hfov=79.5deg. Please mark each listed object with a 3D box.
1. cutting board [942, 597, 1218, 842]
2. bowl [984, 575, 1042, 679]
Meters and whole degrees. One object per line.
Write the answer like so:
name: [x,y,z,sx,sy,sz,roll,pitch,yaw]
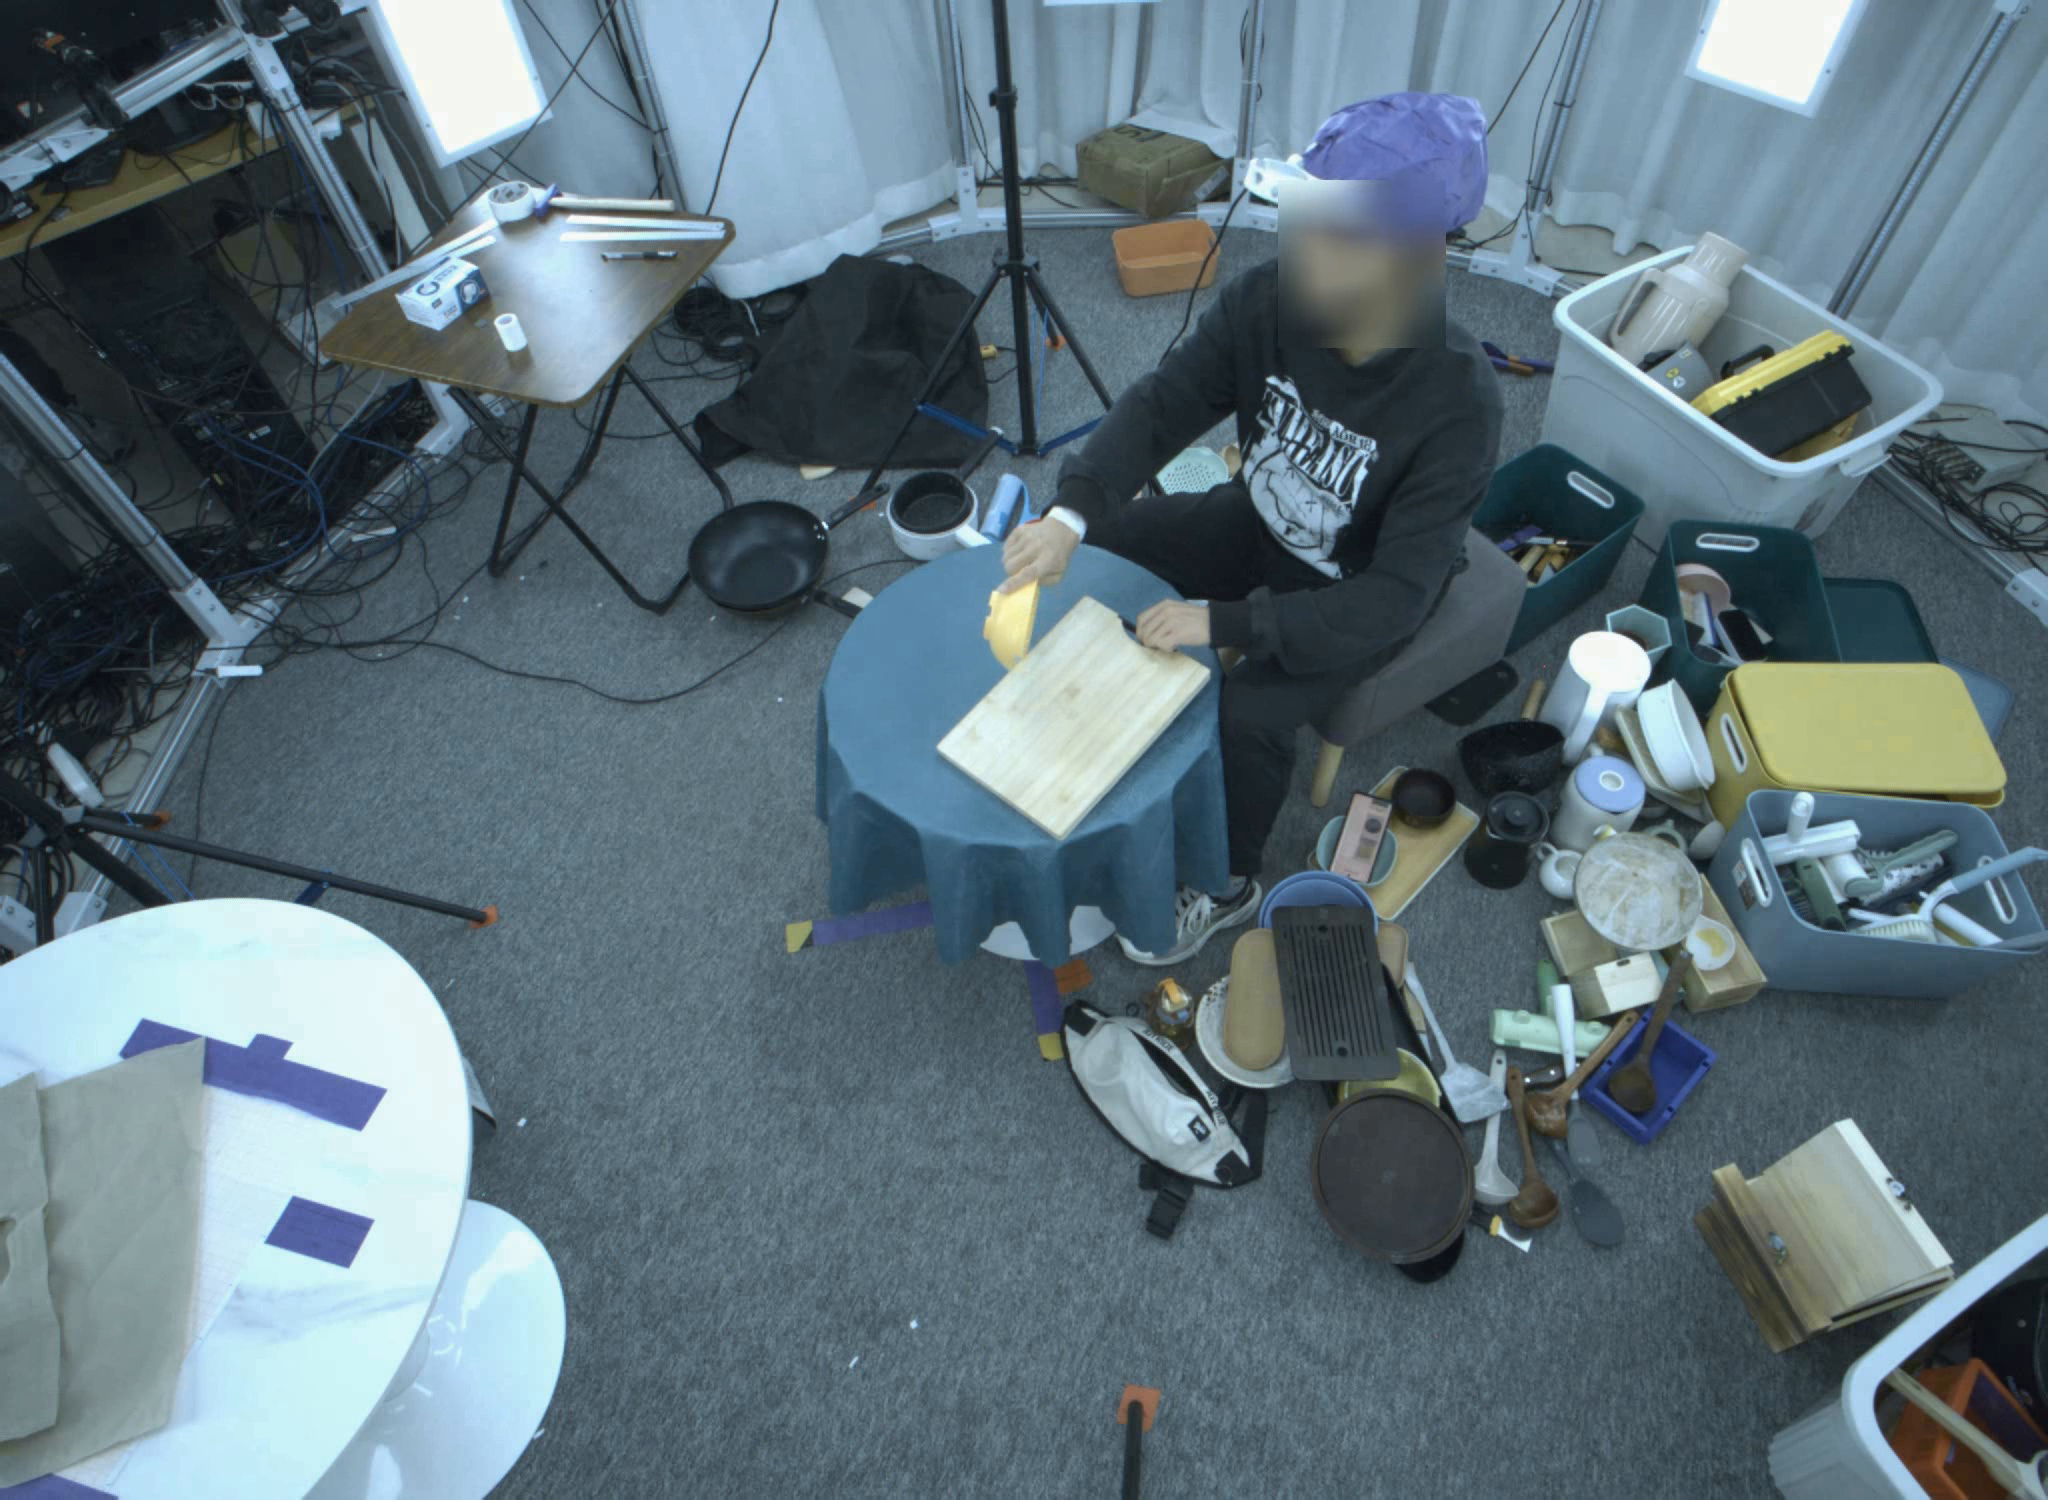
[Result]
cutting board: [0.080,-0.054,1.798,0.246,0.024,0.350,34,69,23]
bowl: [-0.019,-0.172,1.662,0.060,0.146,0.144,11,56,-2]
